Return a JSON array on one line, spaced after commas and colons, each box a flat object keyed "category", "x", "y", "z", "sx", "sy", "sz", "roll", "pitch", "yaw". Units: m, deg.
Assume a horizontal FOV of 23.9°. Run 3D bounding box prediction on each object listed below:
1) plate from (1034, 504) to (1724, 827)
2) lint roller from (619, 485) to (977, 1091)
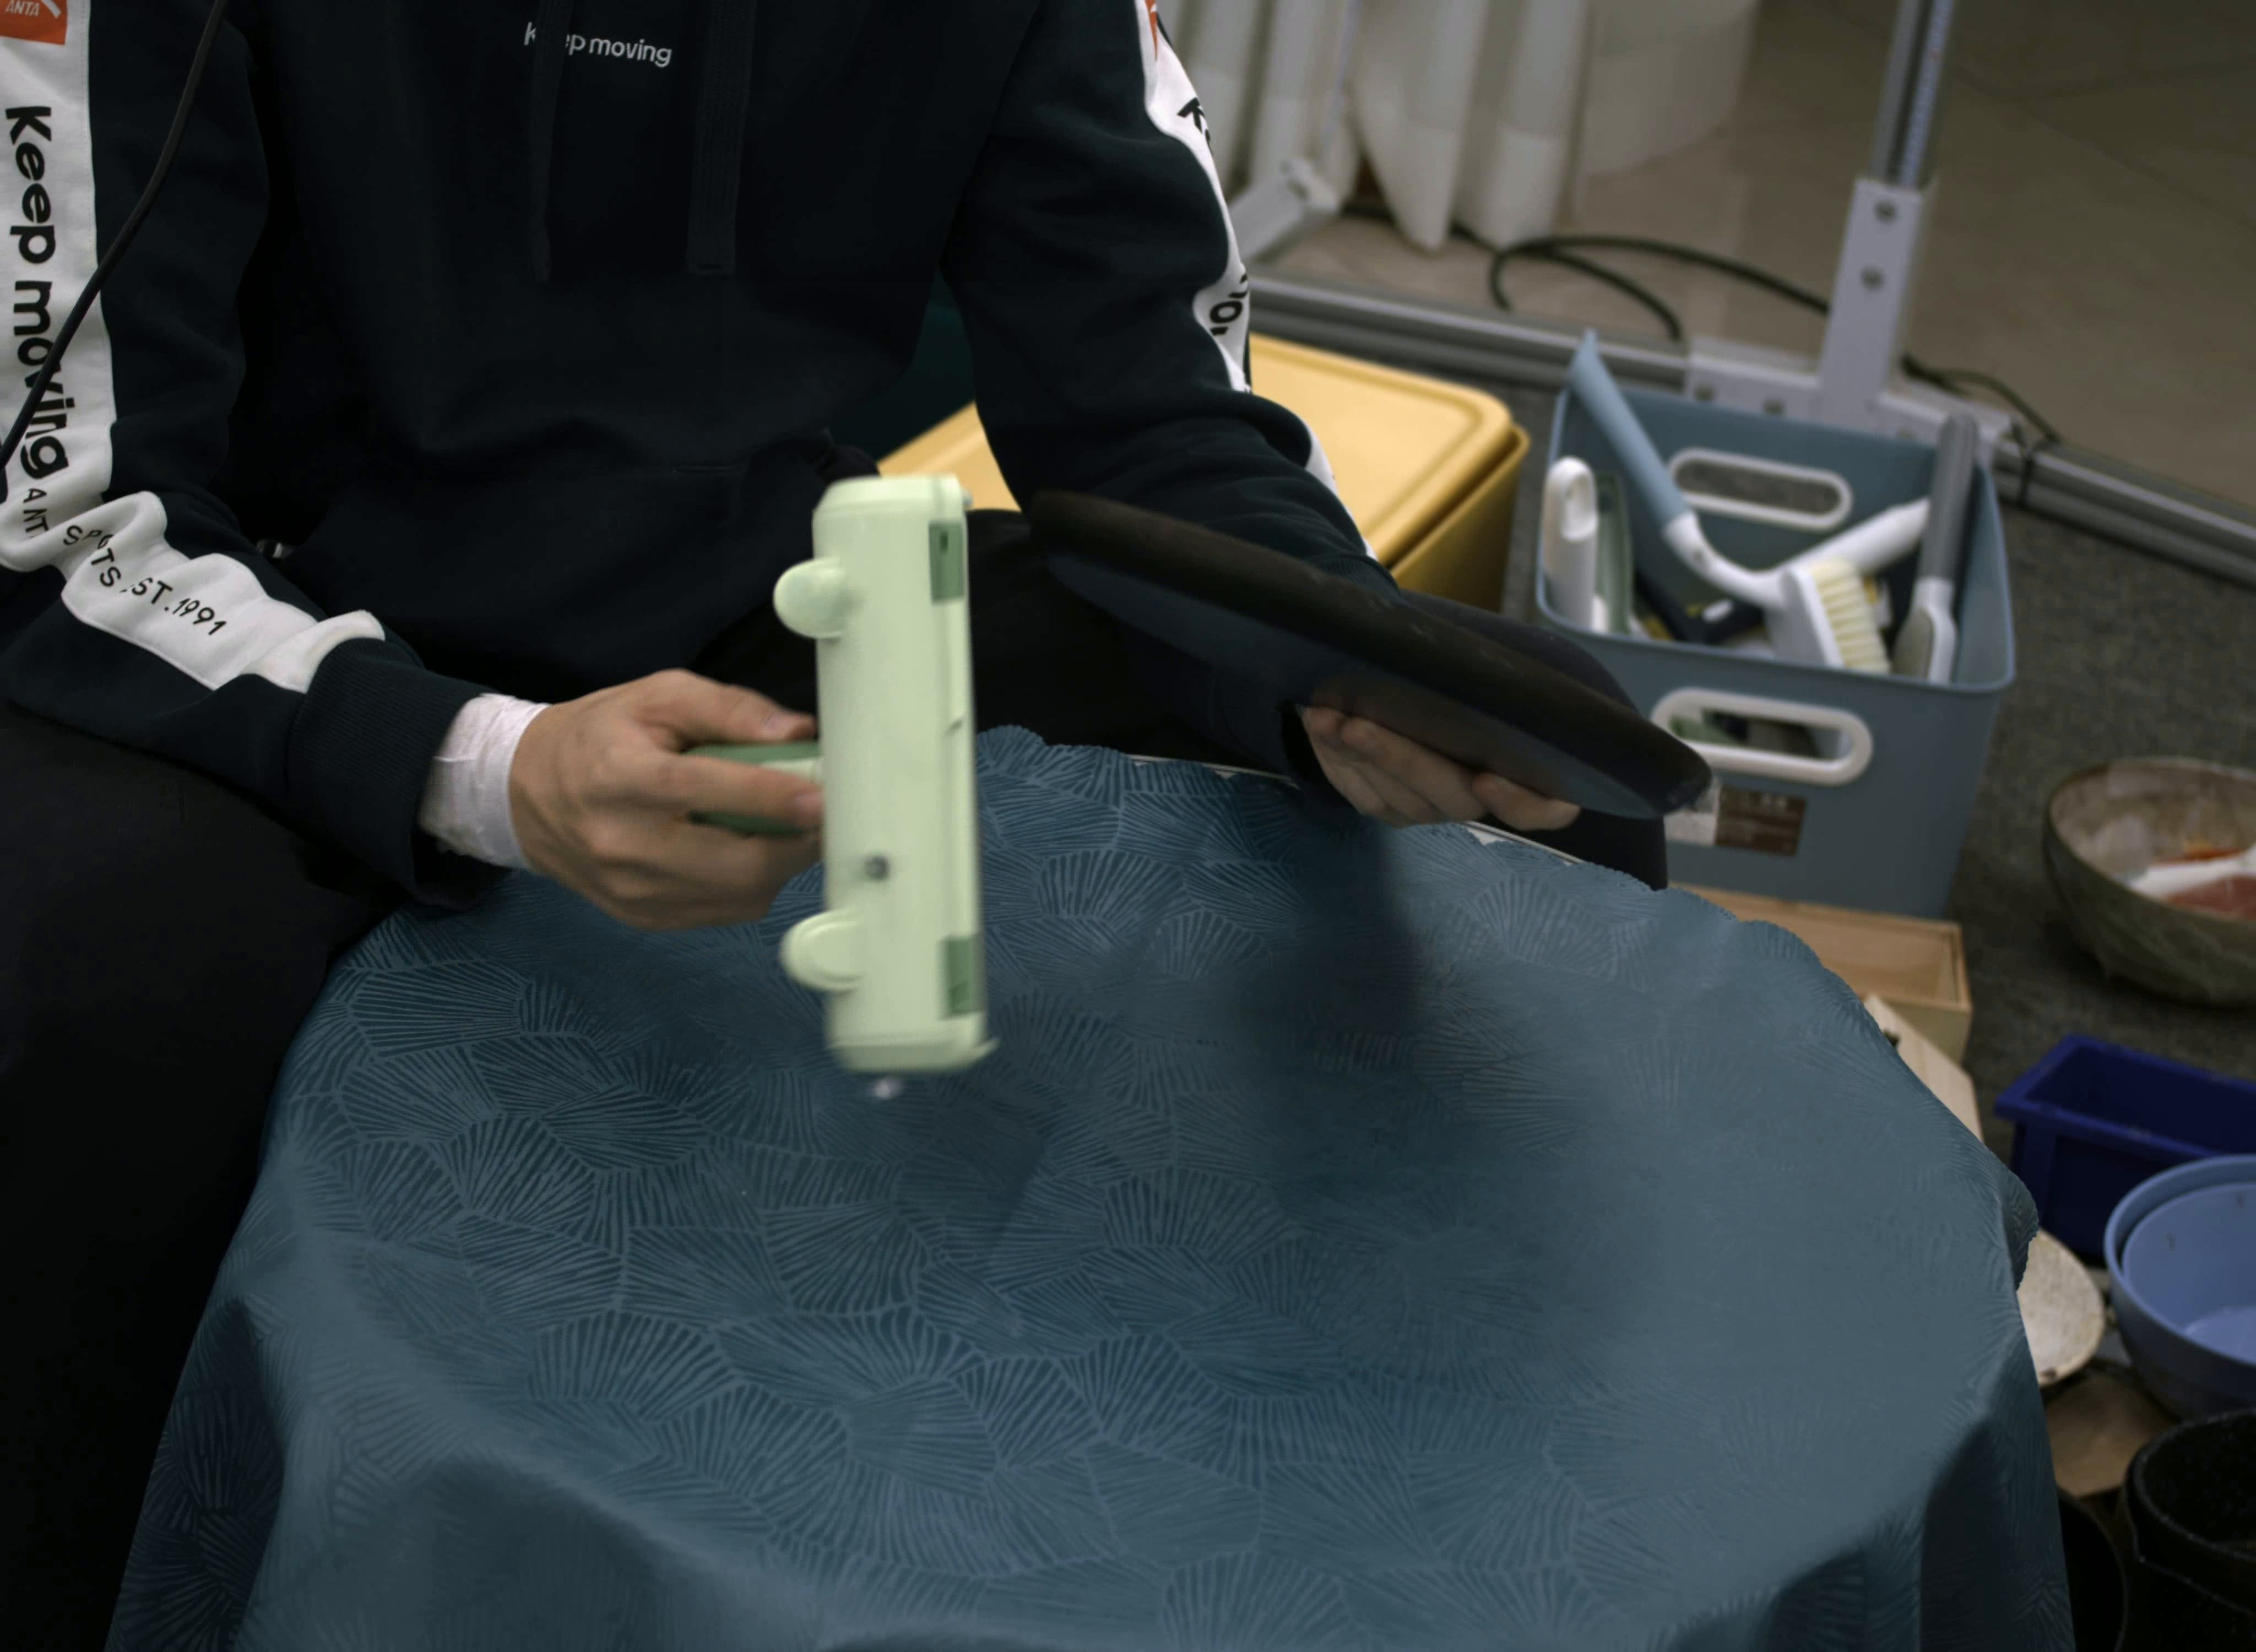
[{"category": "plate", "x": 0.083, "y": -0.053, "z": 1.832, "sx": 0.254, "sy": 0.029, "sz": 0.254, "roll": 21, "pitch": -2, "yaw": 1}, {"category": "lint roller", "x": -0.125, "y": -0.010, "z": 1.781, "sx": 0.184, "sy": 0.199, "sz": 0.081, "roll": -4, "pitch": -7, "yaw": 40}]
